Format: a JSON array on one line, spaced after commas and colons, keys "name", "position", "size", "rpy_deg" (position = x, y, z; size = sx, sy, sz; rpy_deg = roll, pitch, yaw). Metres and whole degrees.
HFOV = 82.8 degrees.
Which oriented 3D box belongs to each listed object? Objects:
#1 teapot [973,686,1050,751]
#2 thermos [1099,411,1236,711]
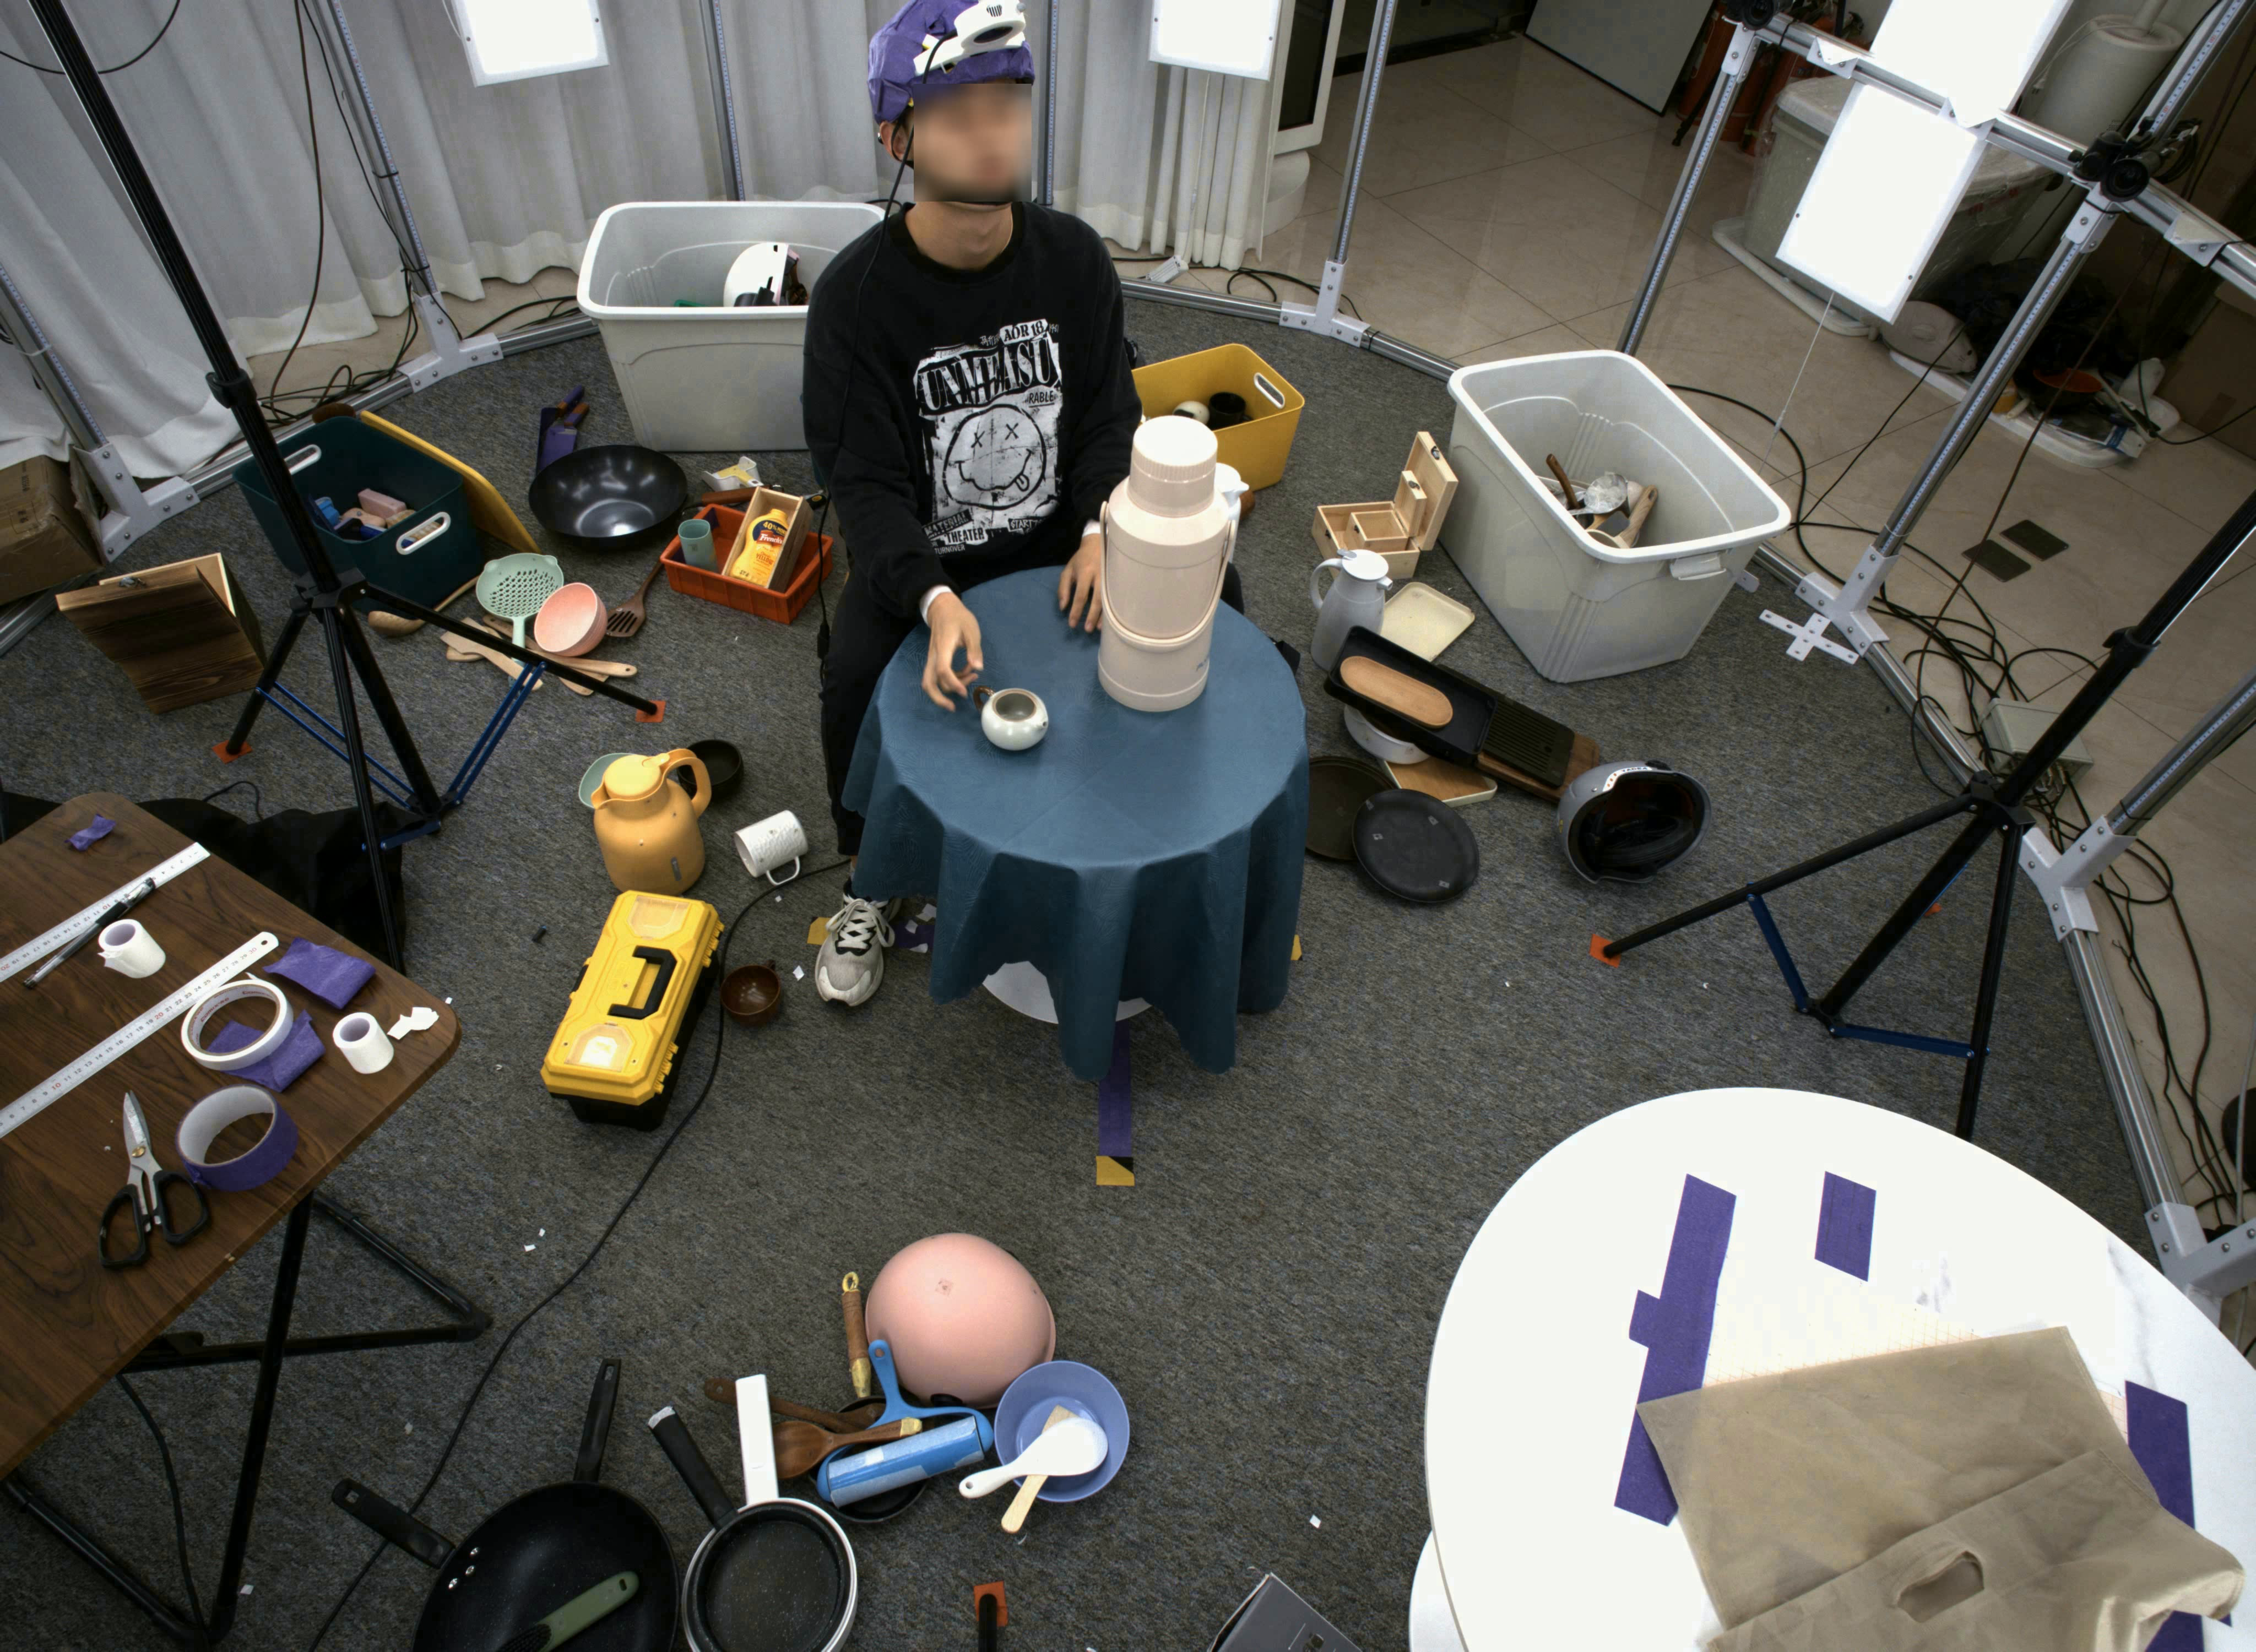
[{"name": "teapot", "position": [-0.161, -0.150, 1.752], "size": [0.129, 0.058, 0.093], "rpy_deg": [30, 57, 19]}, {"name": "thermos", "position": [0.051, -0.358, 1.727], "size": [0.175, 0.396, 0.212], "rpy_deg": [7, 50, 4]}]
